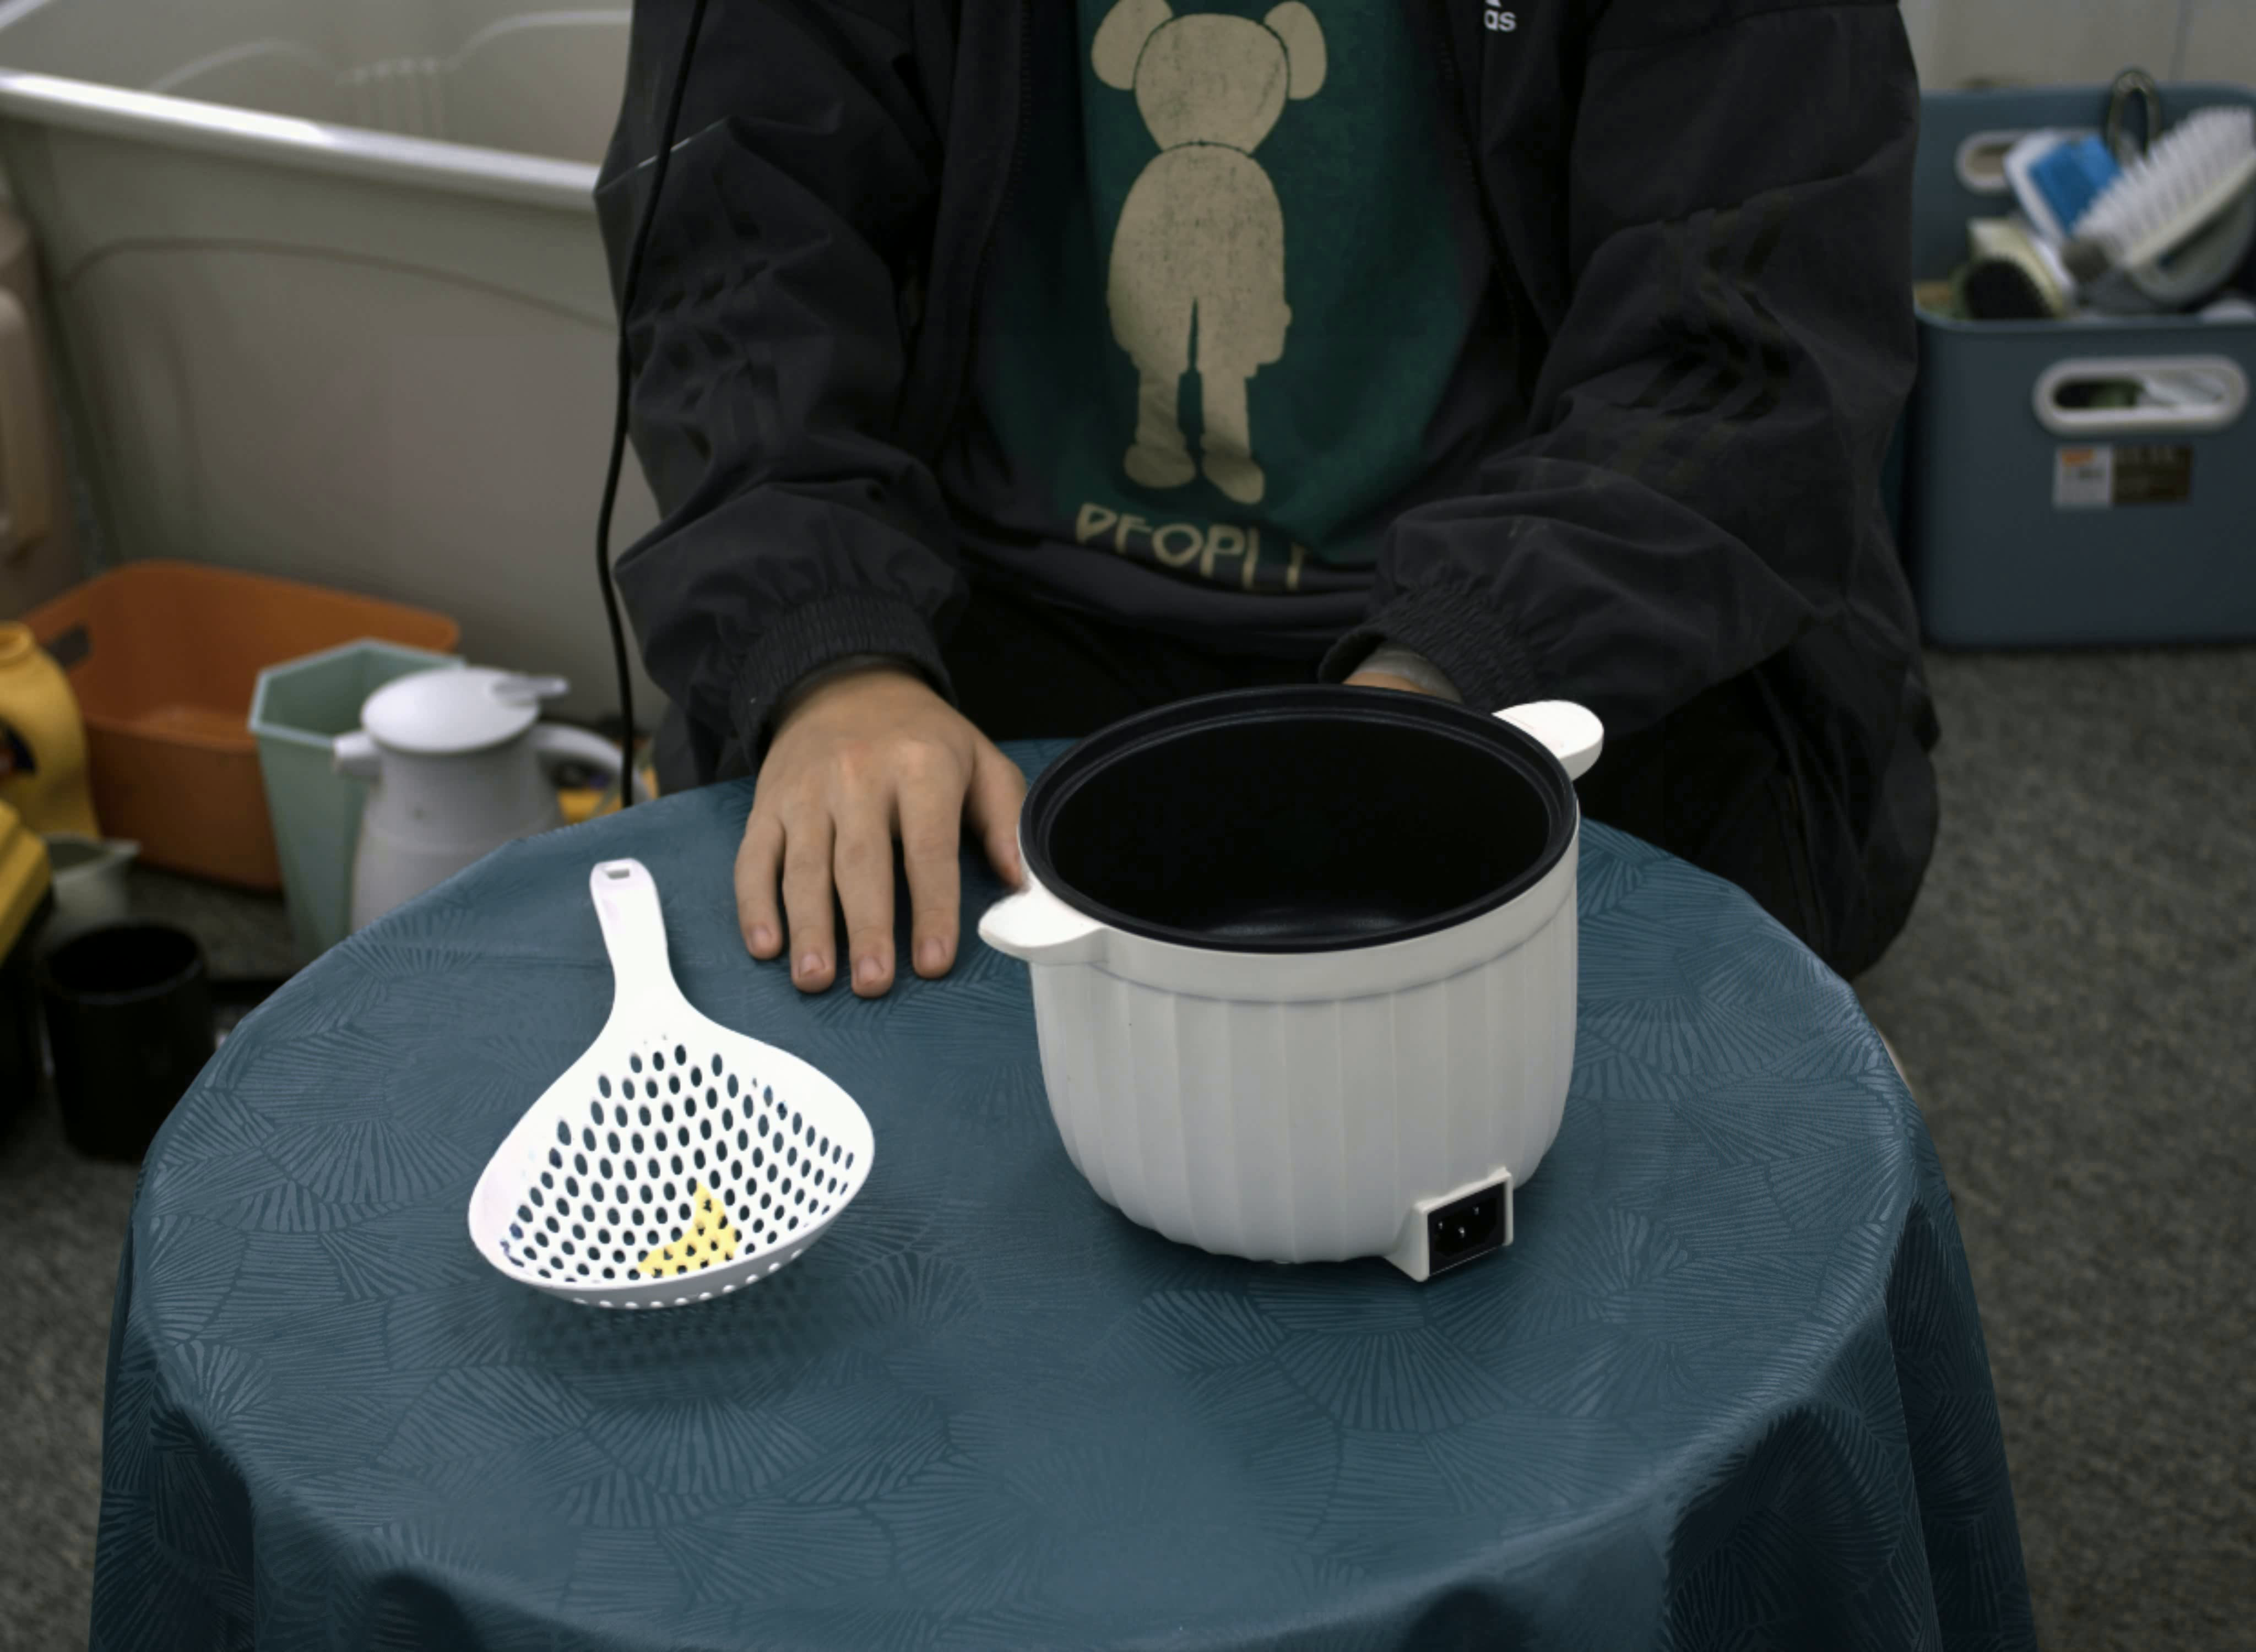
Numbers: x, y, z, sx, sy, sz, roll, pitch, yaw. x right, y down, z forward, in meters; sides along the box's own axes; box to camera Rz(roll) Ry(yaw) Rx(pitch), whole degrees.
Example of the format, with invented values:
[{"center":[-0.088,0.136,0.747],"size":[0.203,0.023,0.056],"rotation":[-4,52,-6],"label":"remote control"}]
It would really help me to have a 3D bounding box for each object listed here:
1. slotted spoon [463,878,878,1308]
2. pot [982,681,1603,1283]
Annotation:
[{"center":[-0.162,0.078,1.913],"size":[0.136,0.050,0.352],"rotation":[-14,28,-4],"label":"slotted spoon"},{"center":[0.054,0.051,1.841],"size":[0.242,0.141,0.191],"rotation":[-18,33,-30],"label":"pot"}]
